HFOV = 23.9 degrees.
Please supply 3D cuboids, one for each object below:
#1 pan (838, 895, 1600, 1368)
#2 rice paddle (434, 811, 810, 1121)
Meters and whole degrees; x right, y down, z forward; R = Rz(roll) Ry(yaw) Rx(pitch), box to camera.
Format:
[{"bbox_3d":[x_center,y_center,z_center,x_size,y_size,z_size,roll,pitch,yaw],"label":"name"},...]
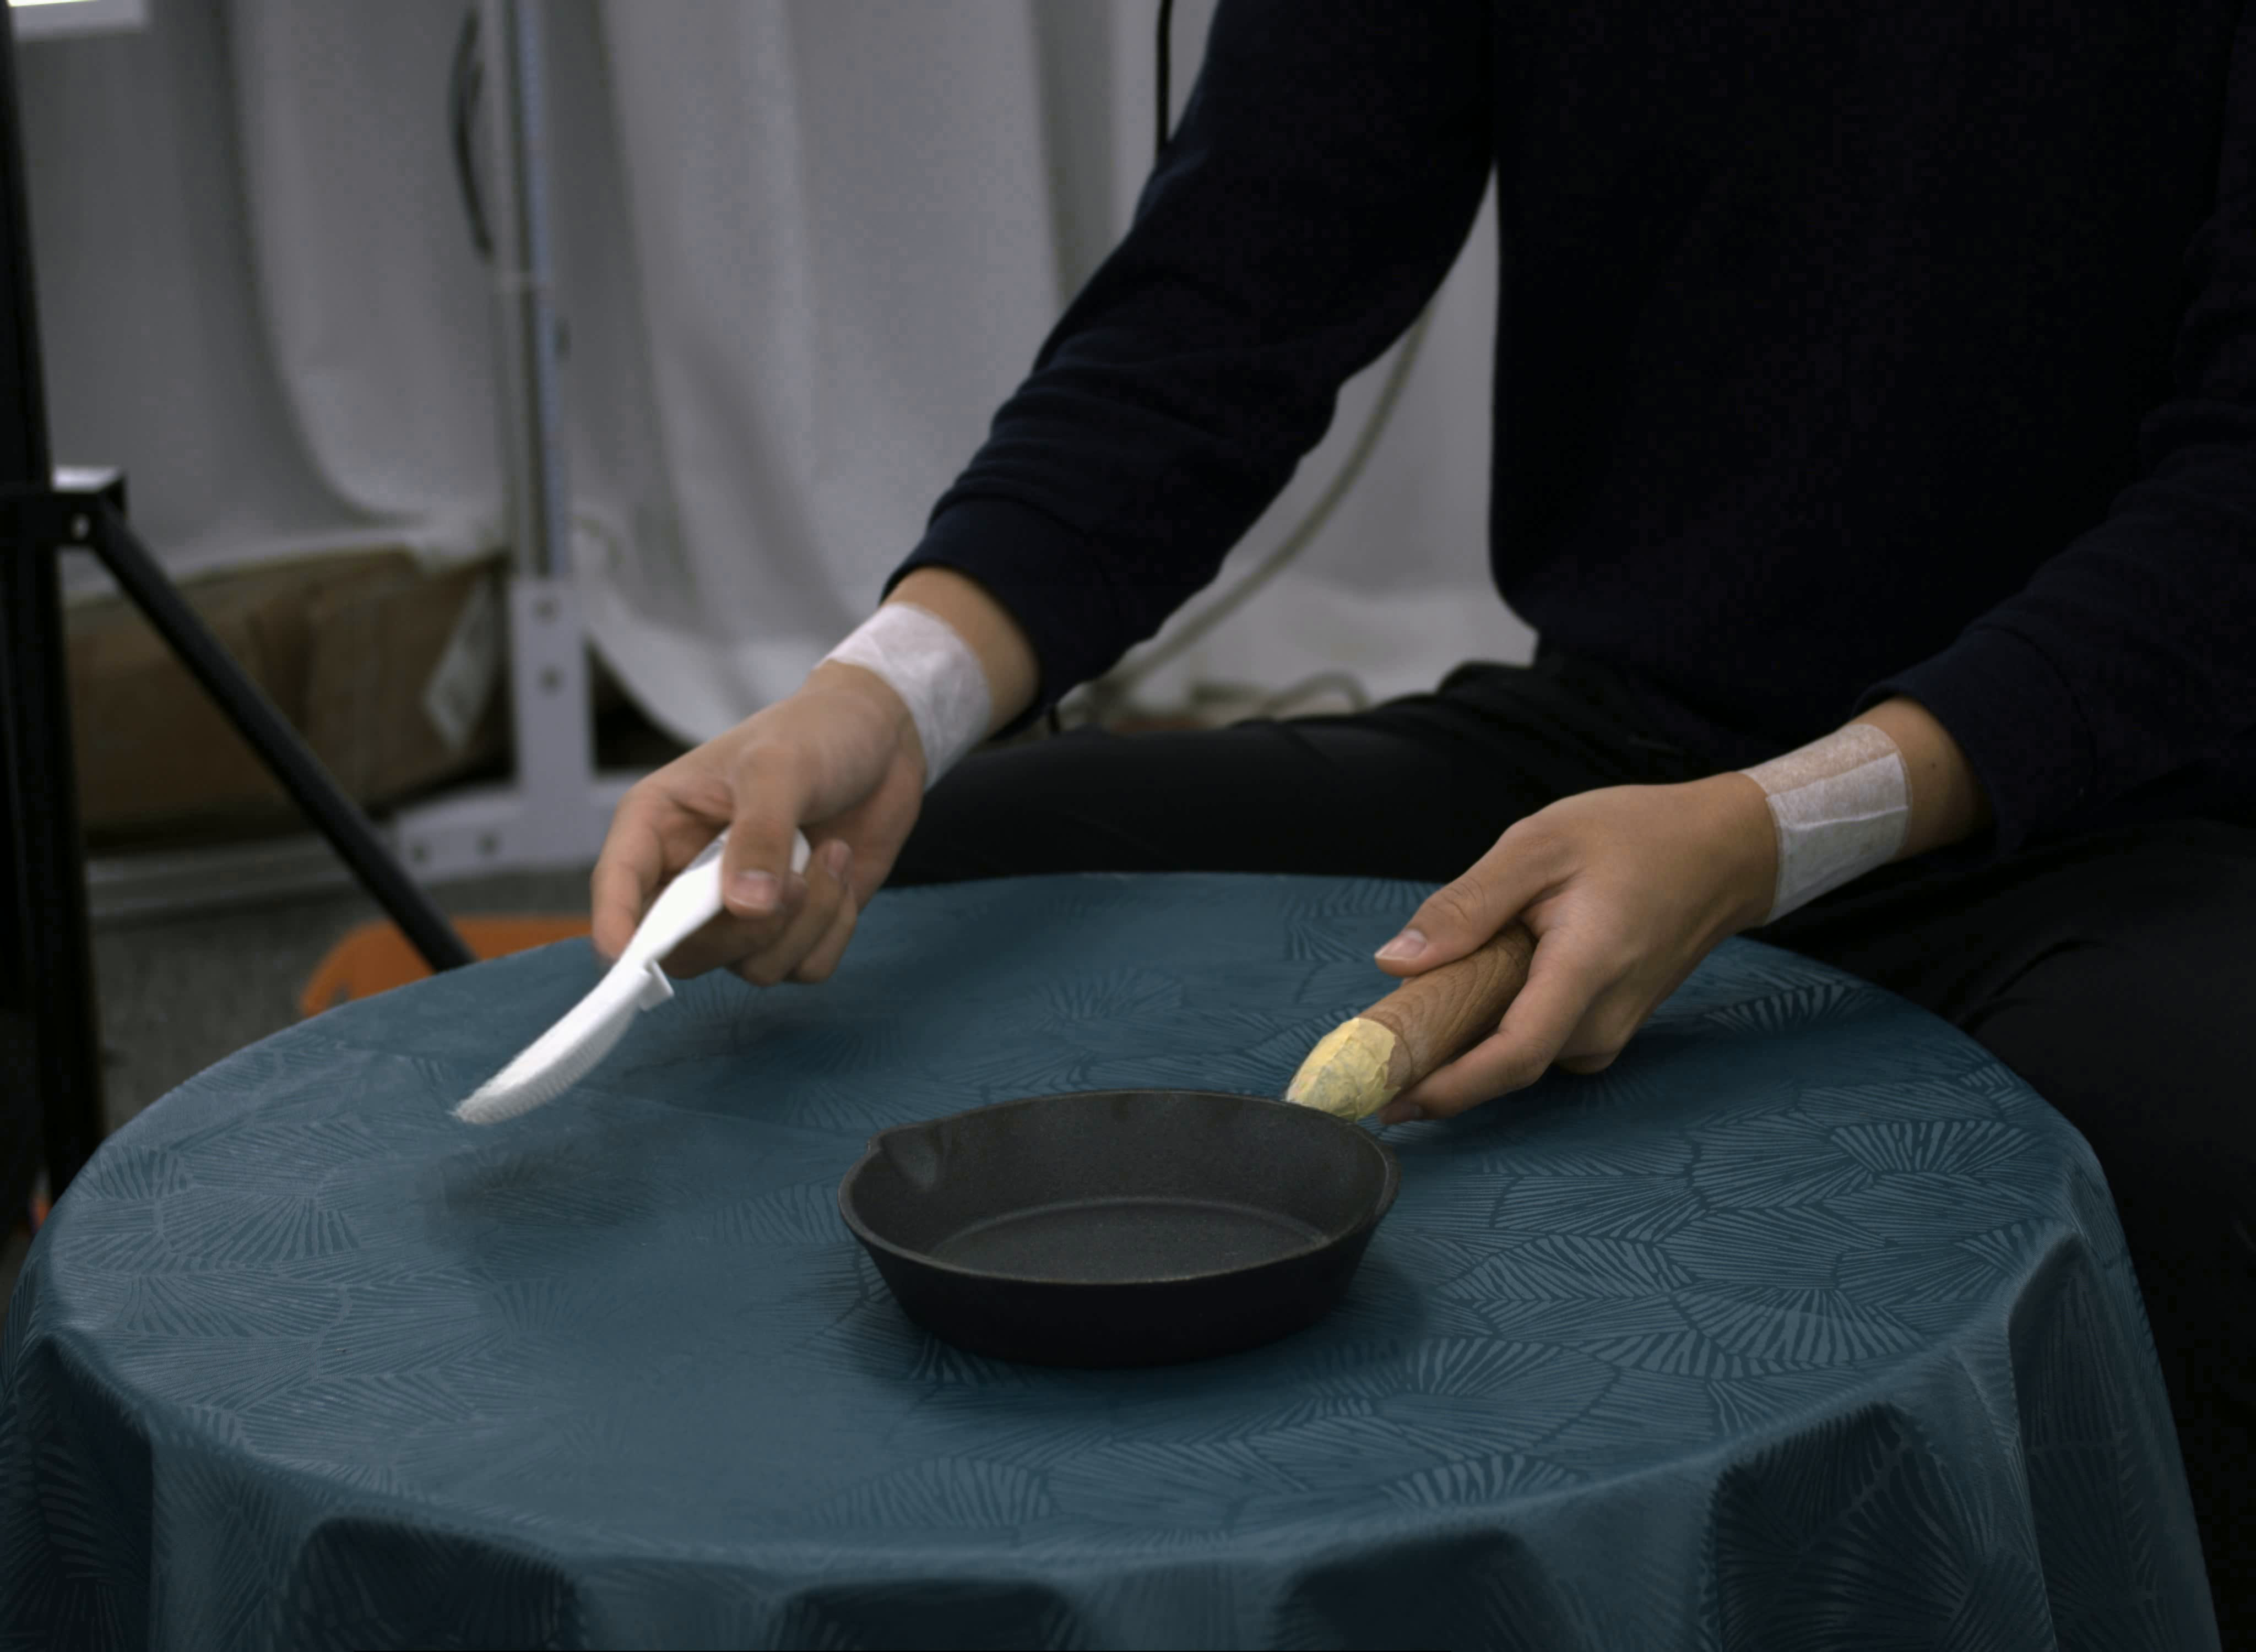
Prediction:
[{"bbox_3d":[0.049,0.085,1.538,0.172,0.049,0.317,10,22,37],"label":"pan"},{"bbox_3d":[-0.154,0.043,1.633,0.069,0.029,0.203,-36,3,31],"label":"rice paddle"}]
